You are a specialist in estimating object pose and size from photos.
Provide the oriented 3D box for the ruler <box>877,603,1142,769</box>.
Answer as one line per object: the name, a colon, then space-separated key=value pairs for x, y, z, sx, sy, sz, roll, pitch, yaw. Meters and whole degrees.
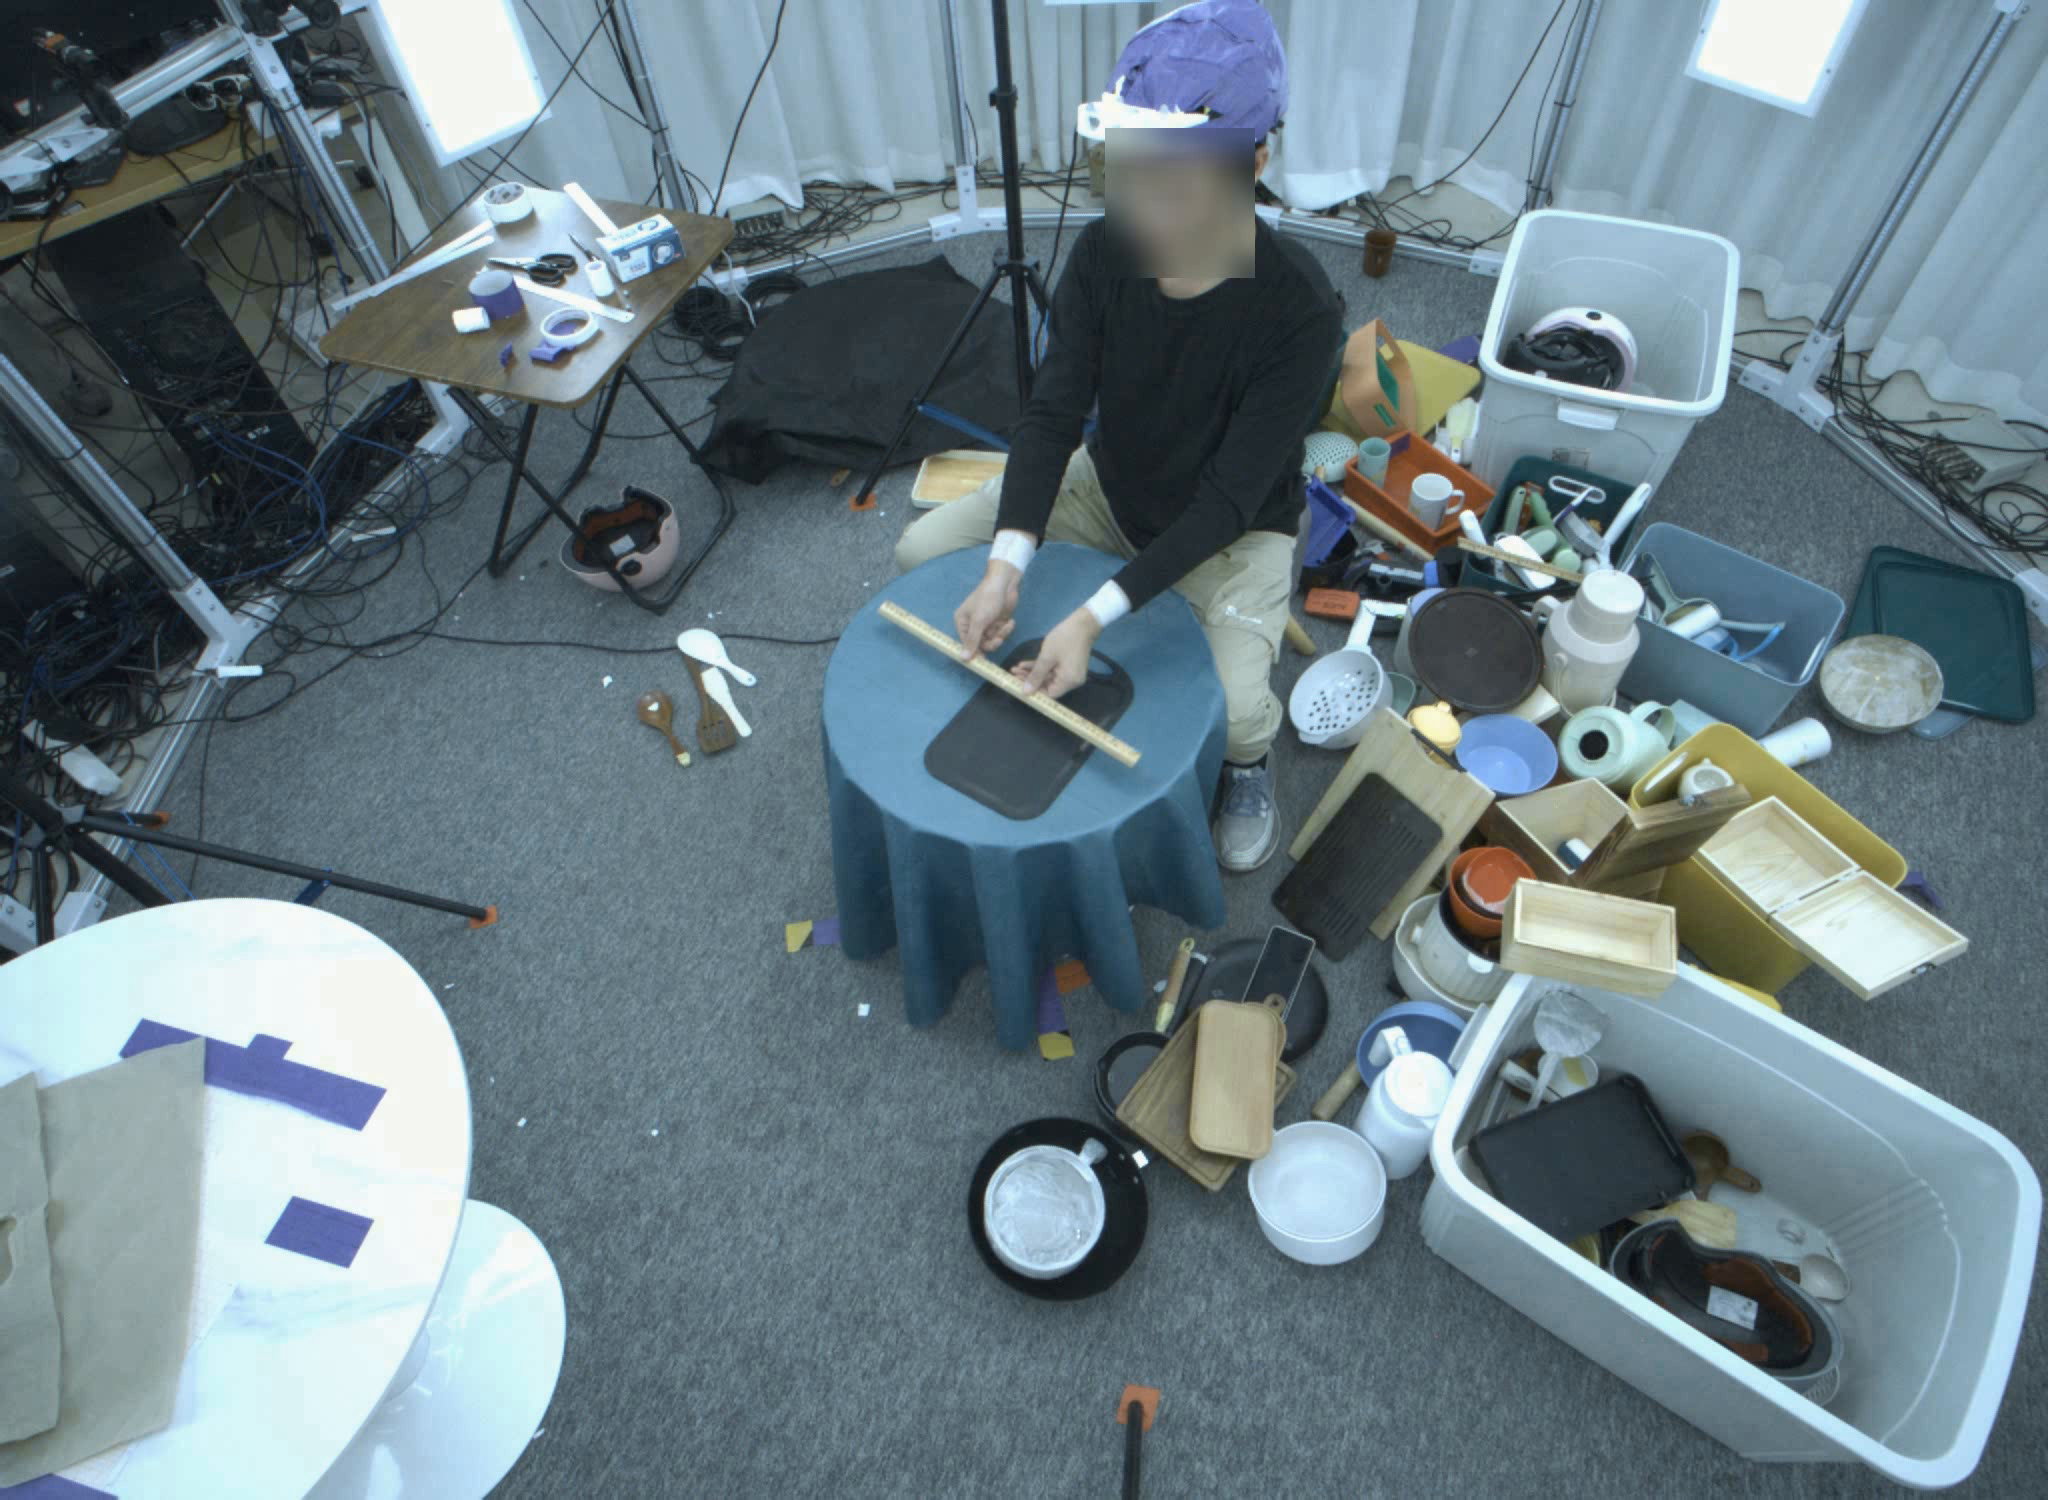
ruler: x=-0.032 y=-0.103 z=1.820 sx=0.492 sy=0.006 sz=0.027 roll=32 pitch=78 yaw=23

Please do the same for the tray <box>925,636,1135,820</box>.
tray: x=0.015 y=-0.046 z=1.816 sx=0.208 sy=0.010 sz=0.327 roll=29 pitch=61 yaw=20
